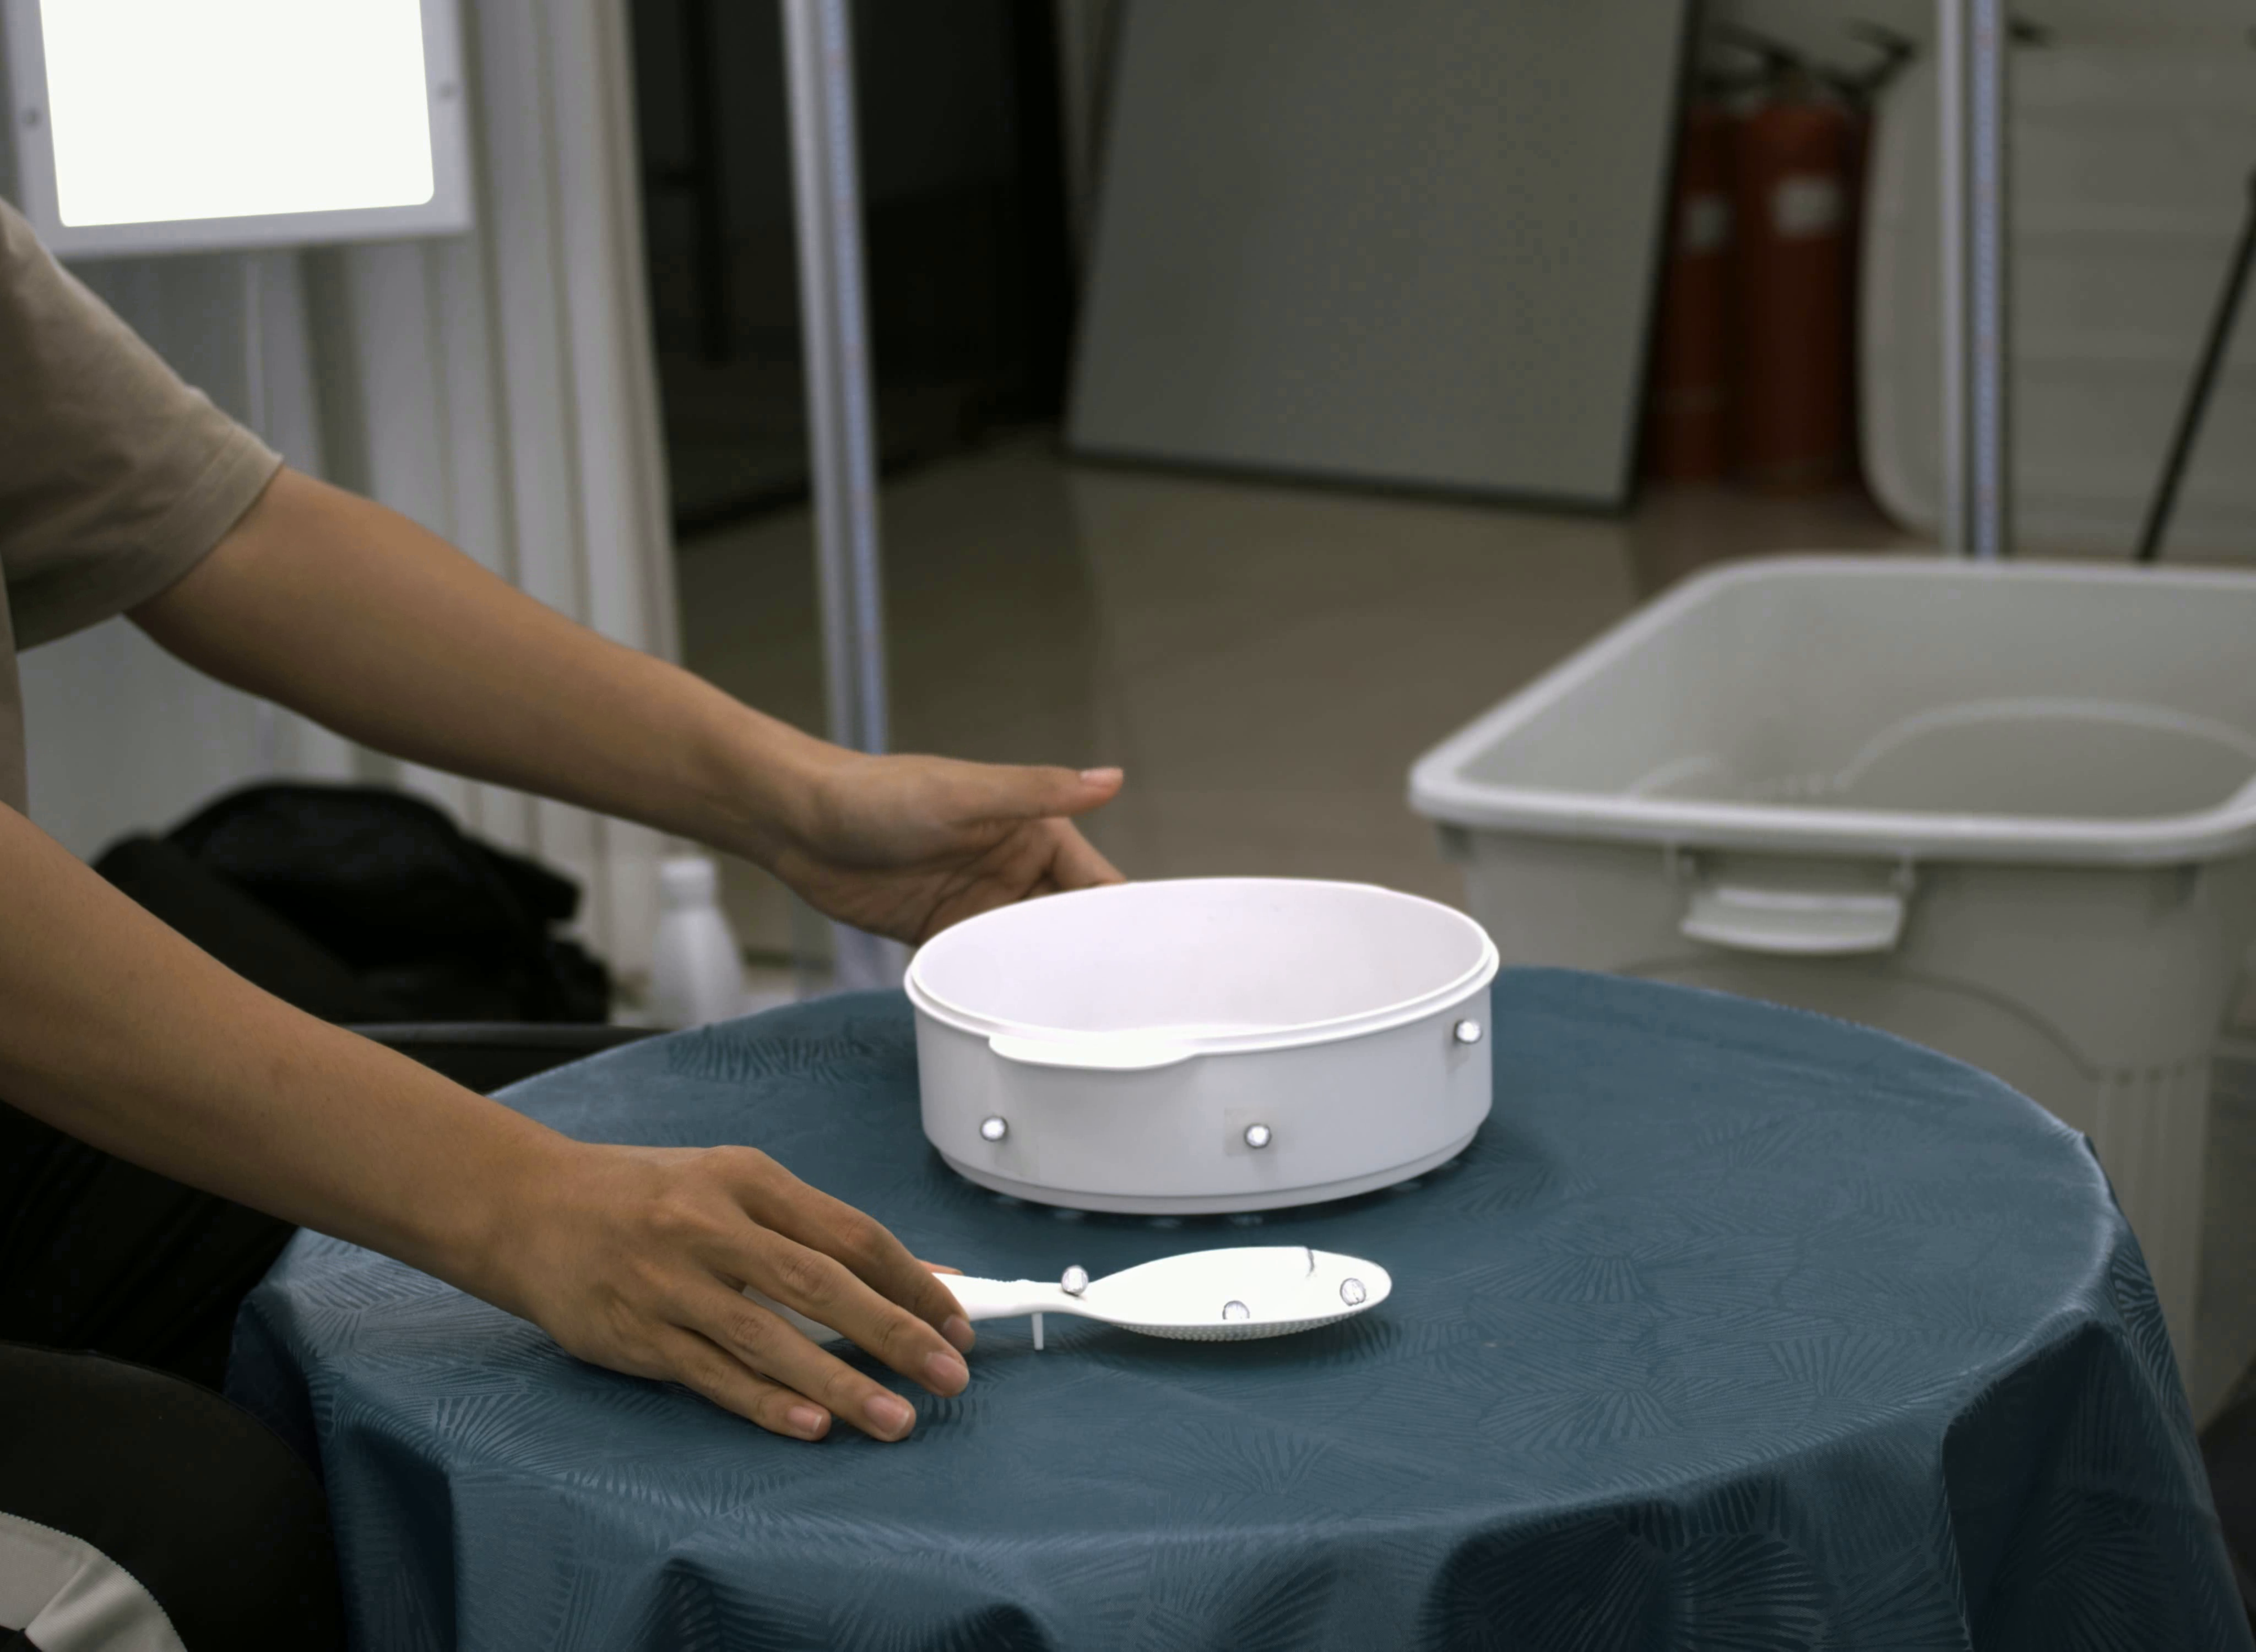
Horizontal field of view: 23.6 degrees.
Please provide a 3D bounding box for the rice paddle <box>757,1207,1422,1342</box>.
[{"bbox_3d":[-0.010,0.132,1.639,0.202,0.030,0.069,-5,15,-3],"label":"rice paddle"}]

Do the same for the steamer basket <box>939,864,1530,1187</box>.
[{"bbox_3d":[0.037,0.067,1.821,0.202,0.070,0.228,3,14,24],"label":"steamer basket"}]
